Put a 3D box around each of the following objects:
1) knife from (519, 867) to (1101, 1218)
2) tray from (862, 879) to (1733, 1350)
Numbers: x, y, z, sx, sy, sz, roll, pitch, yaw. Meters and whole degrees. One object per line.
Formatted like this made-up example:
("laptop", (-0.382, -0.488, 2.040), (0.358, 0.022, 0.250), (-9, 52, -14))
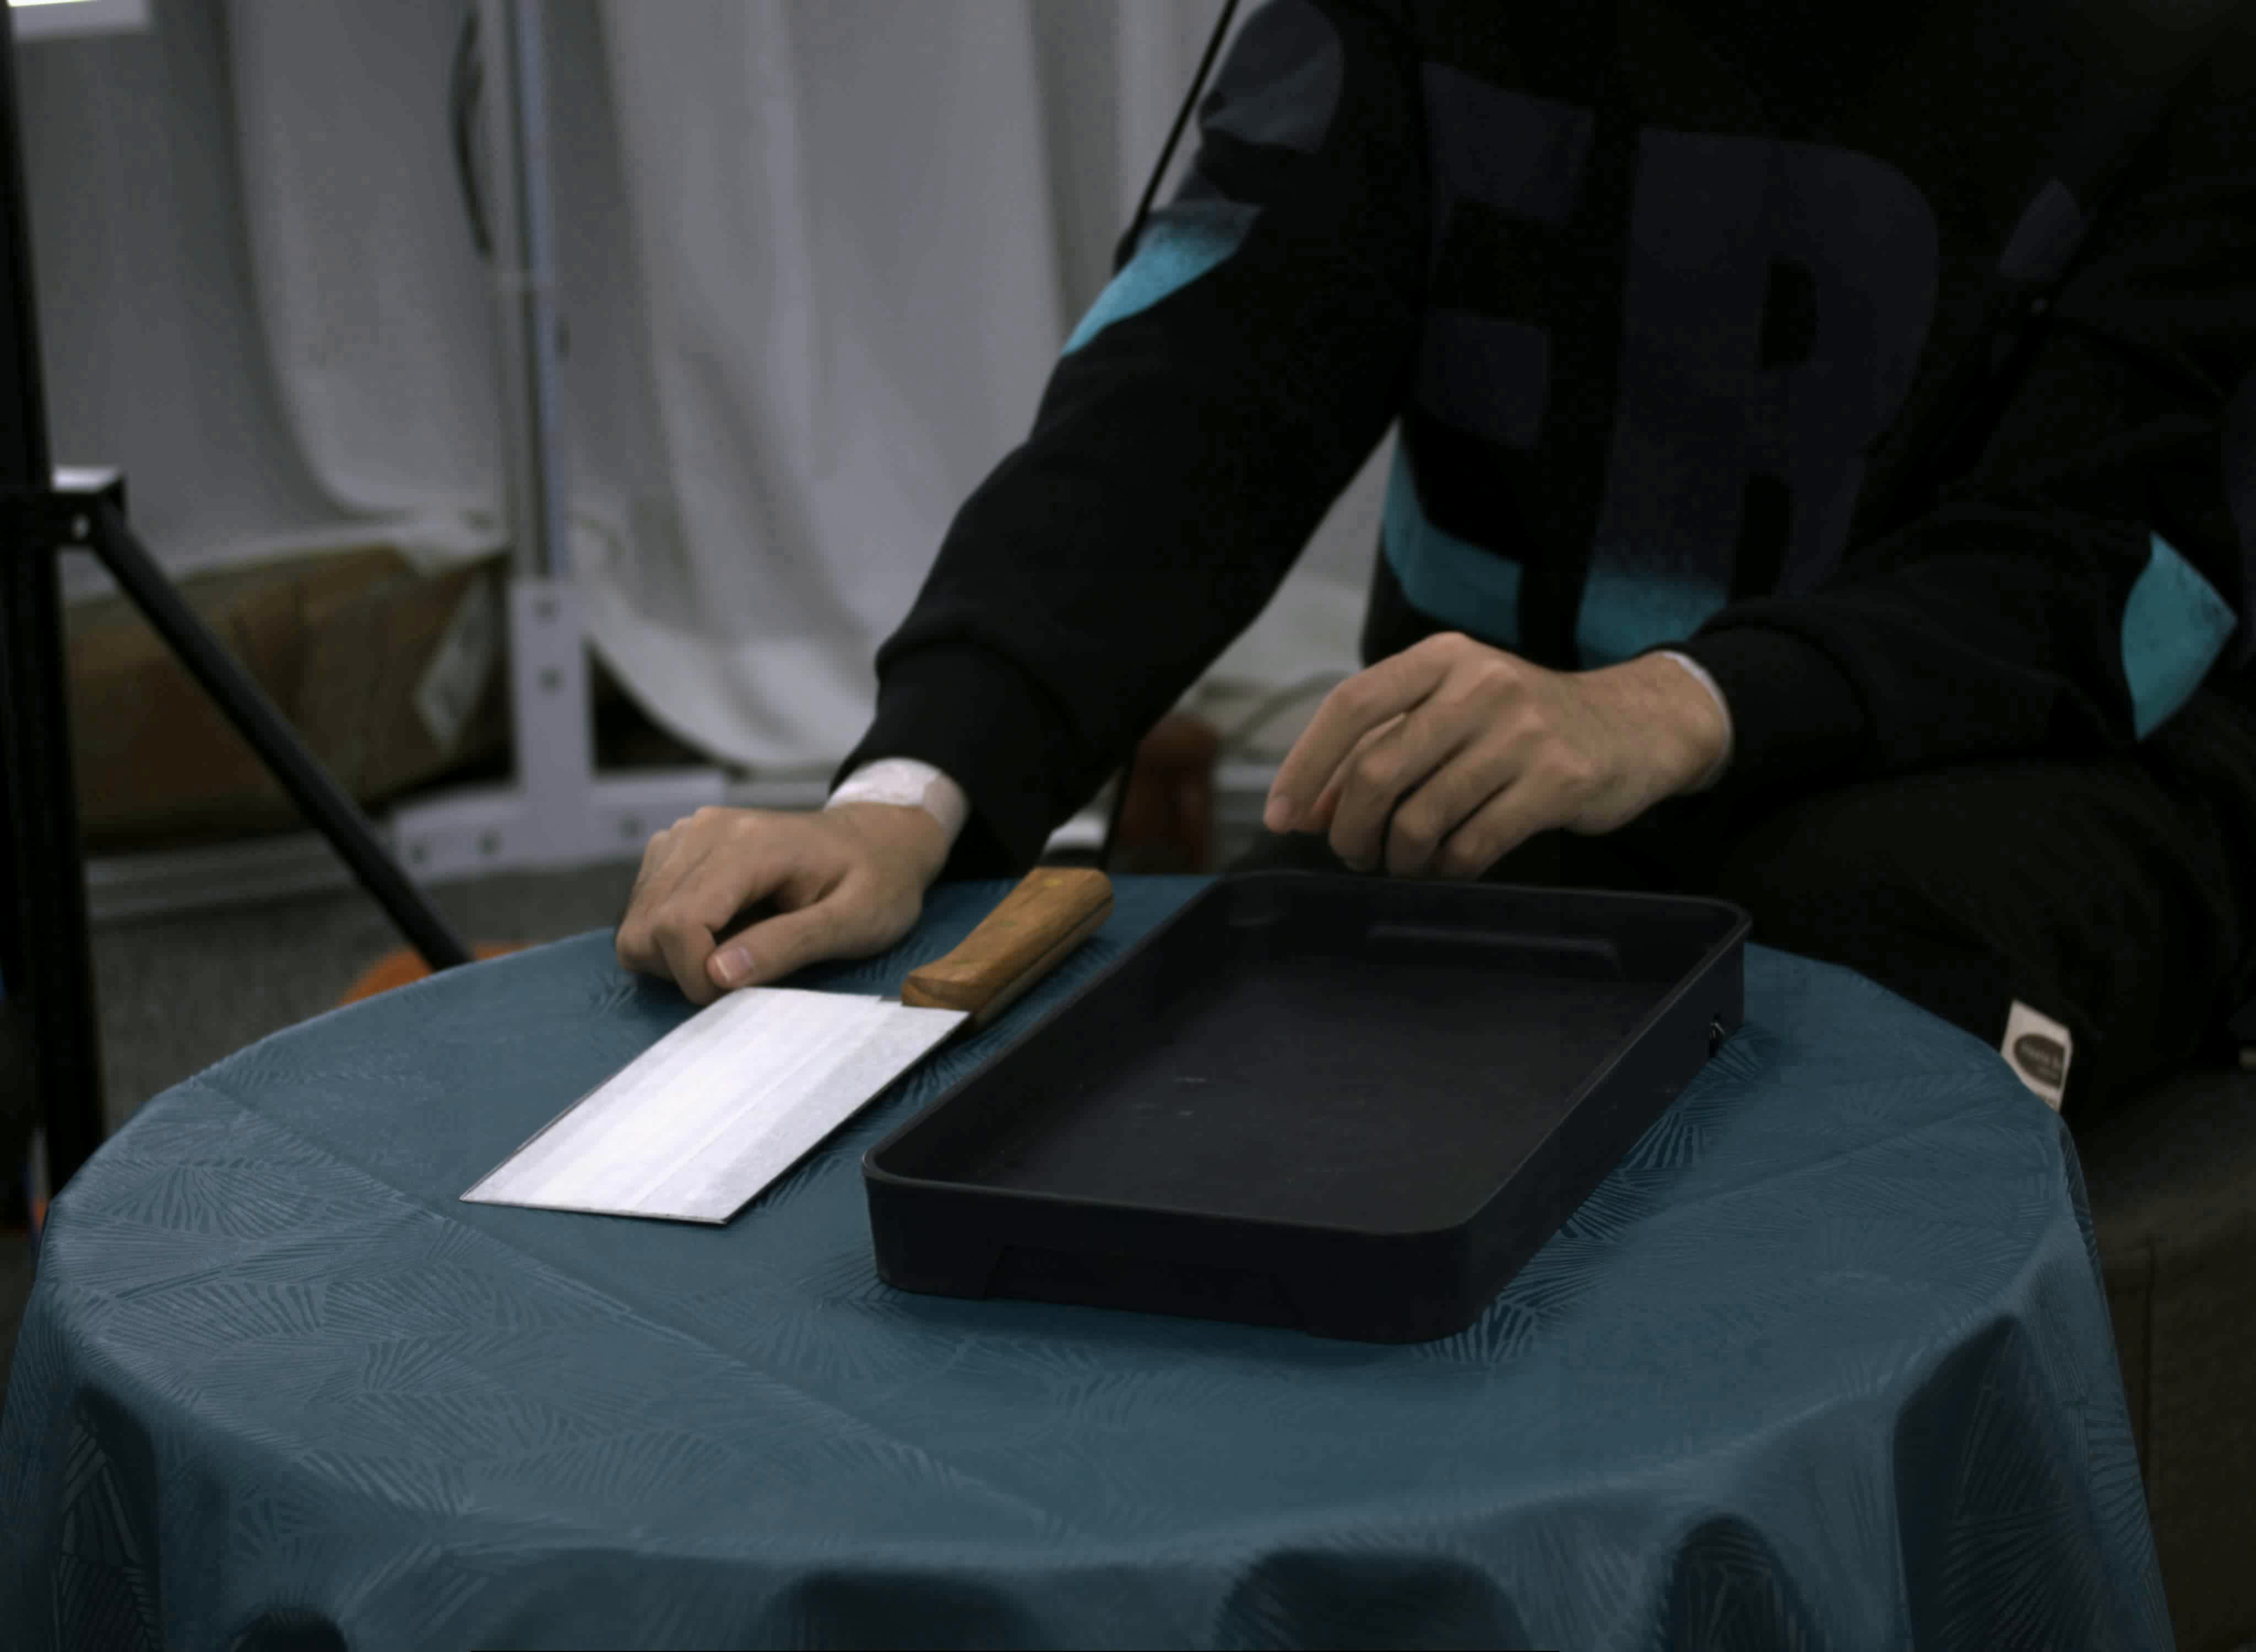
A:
("knife", (-0.099, 0.067, 1.693), (0.094, 0.021, 0.302), (2, 19, 23))
("tray", (0.059, 0.079, 1.583), (0.186, 0.037, 0.314), (3, 16, 21))
